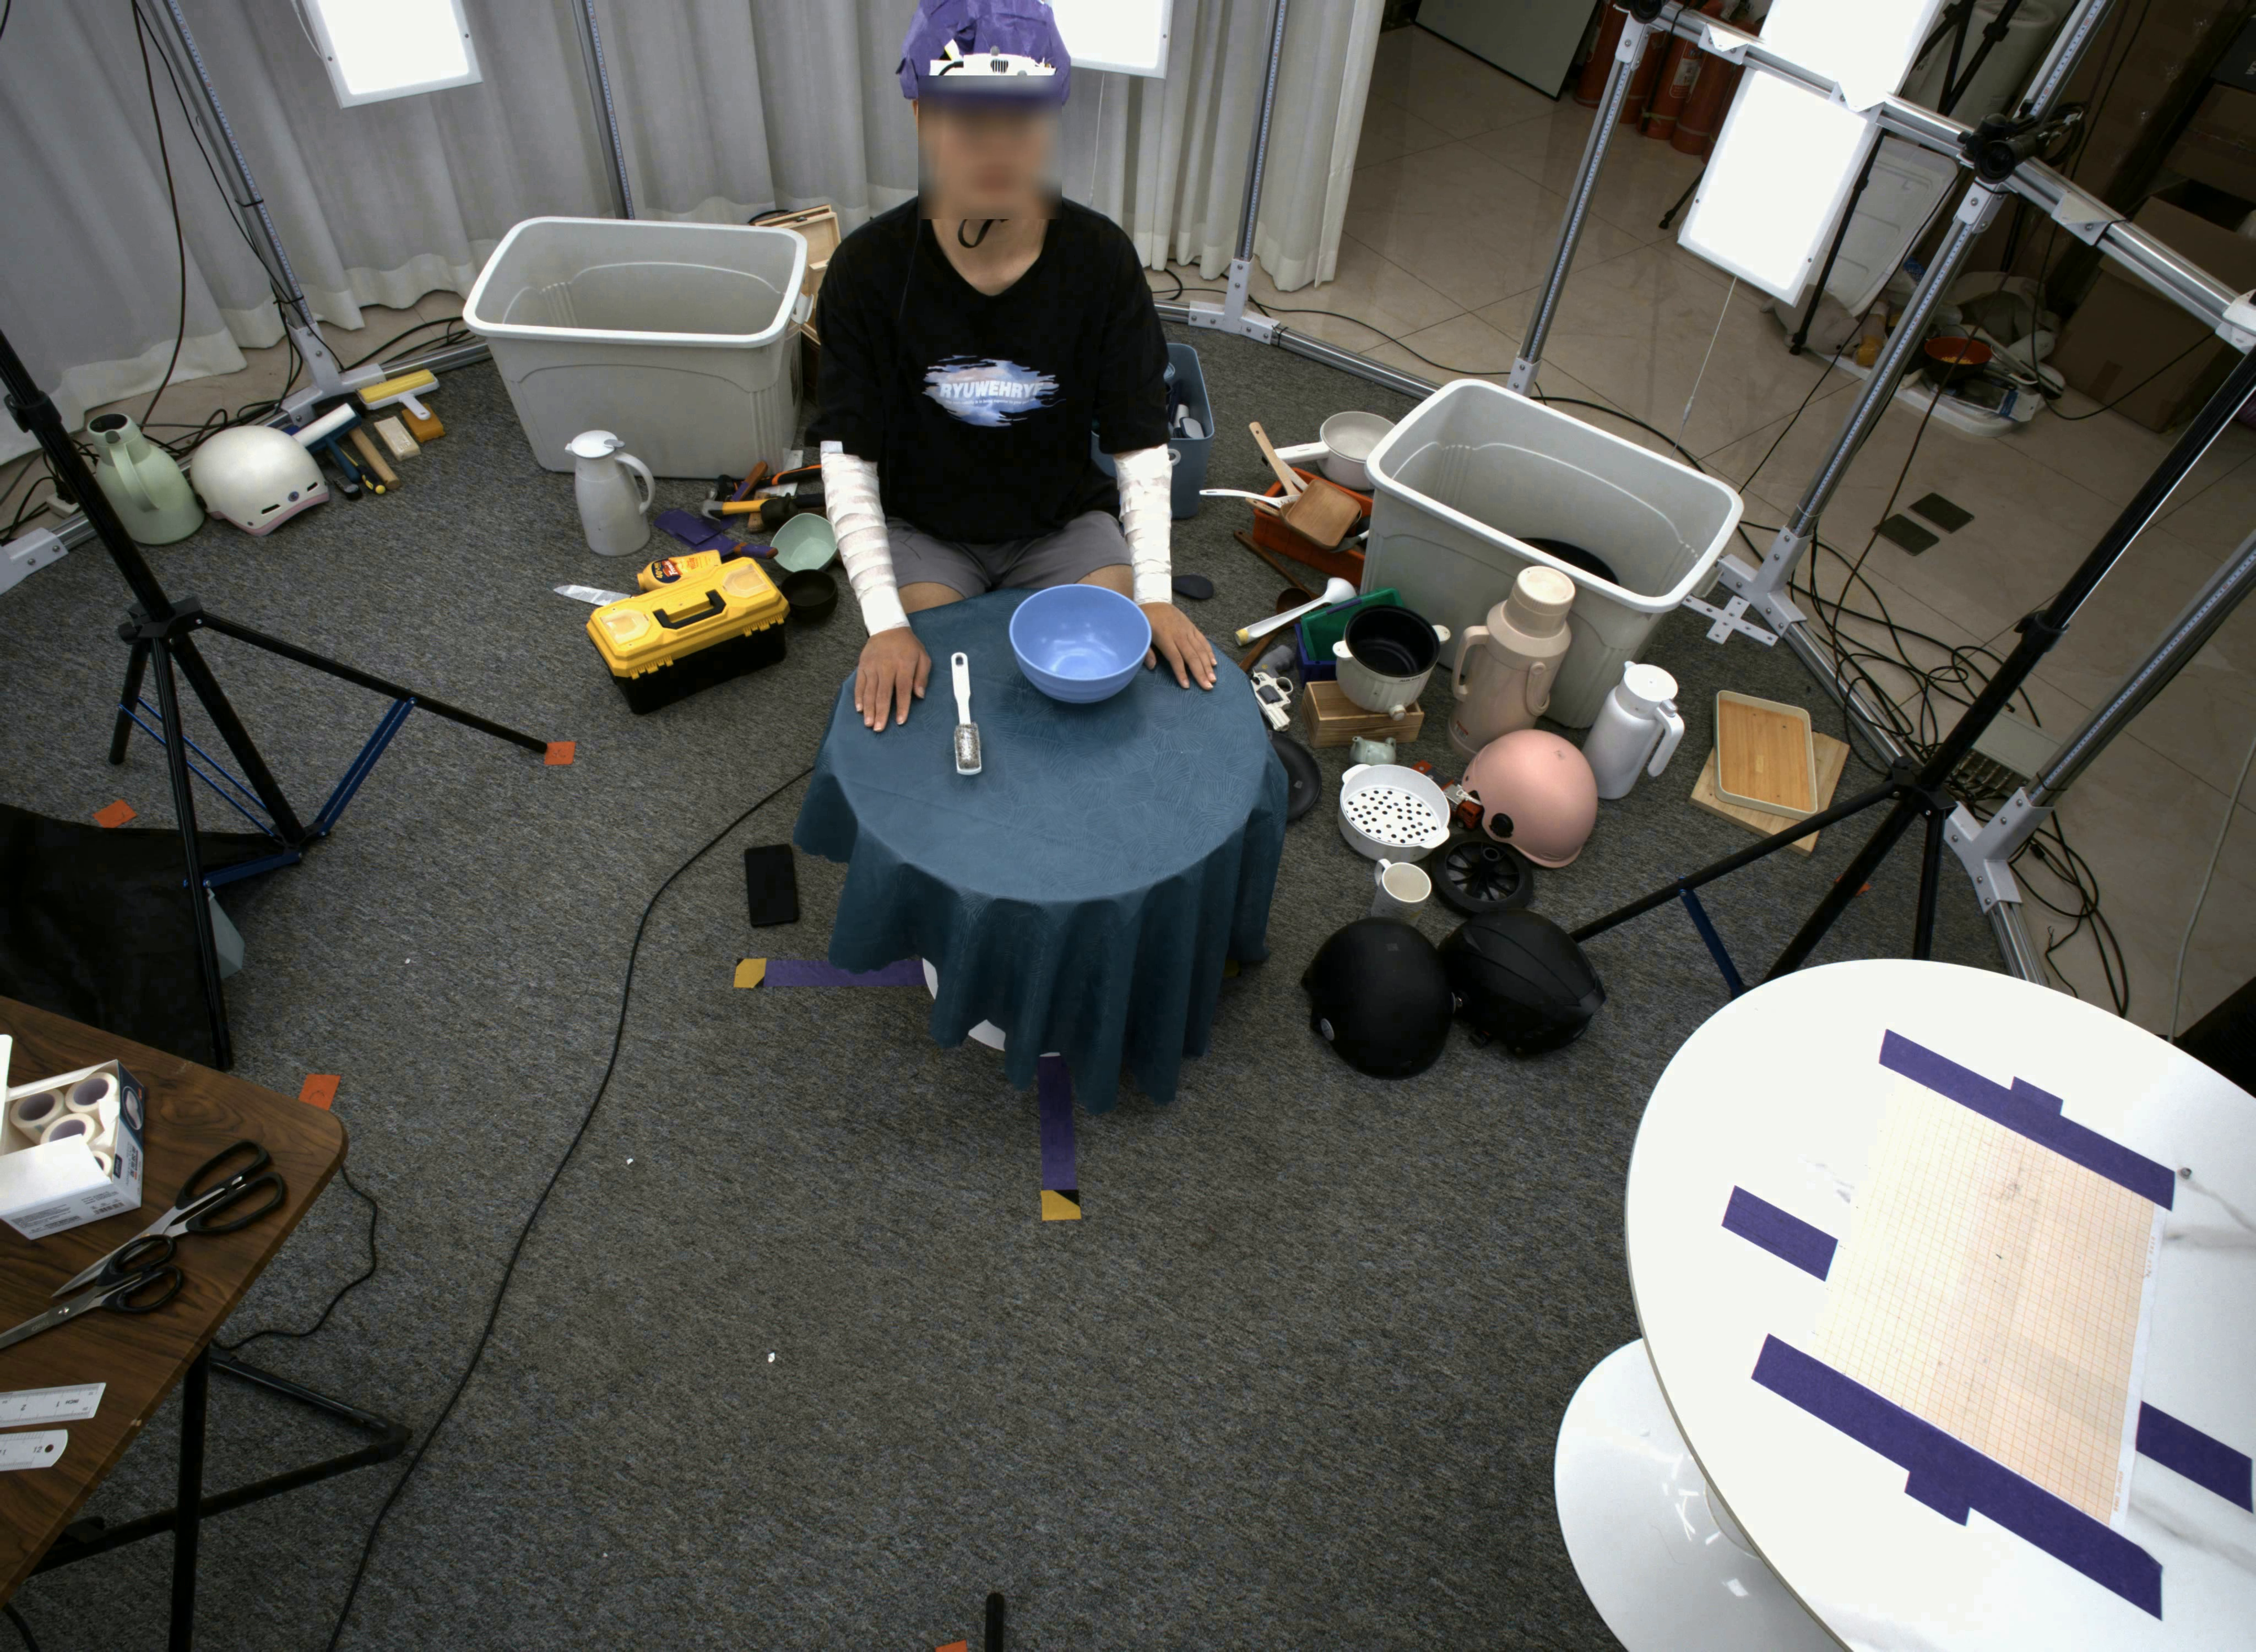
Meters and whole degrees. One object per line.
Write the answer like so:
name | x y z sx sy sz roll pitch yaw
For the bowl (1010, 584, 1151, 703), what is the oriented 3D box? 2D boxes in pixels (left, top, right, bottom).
bowl | -0.067 -0.243 1.818 0.196 0.093 0.201 1 50 -2

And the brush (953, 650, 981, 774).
brush | -0.221 -0.170 1.774 0.034 0.049 0.250 -3 50 -3
